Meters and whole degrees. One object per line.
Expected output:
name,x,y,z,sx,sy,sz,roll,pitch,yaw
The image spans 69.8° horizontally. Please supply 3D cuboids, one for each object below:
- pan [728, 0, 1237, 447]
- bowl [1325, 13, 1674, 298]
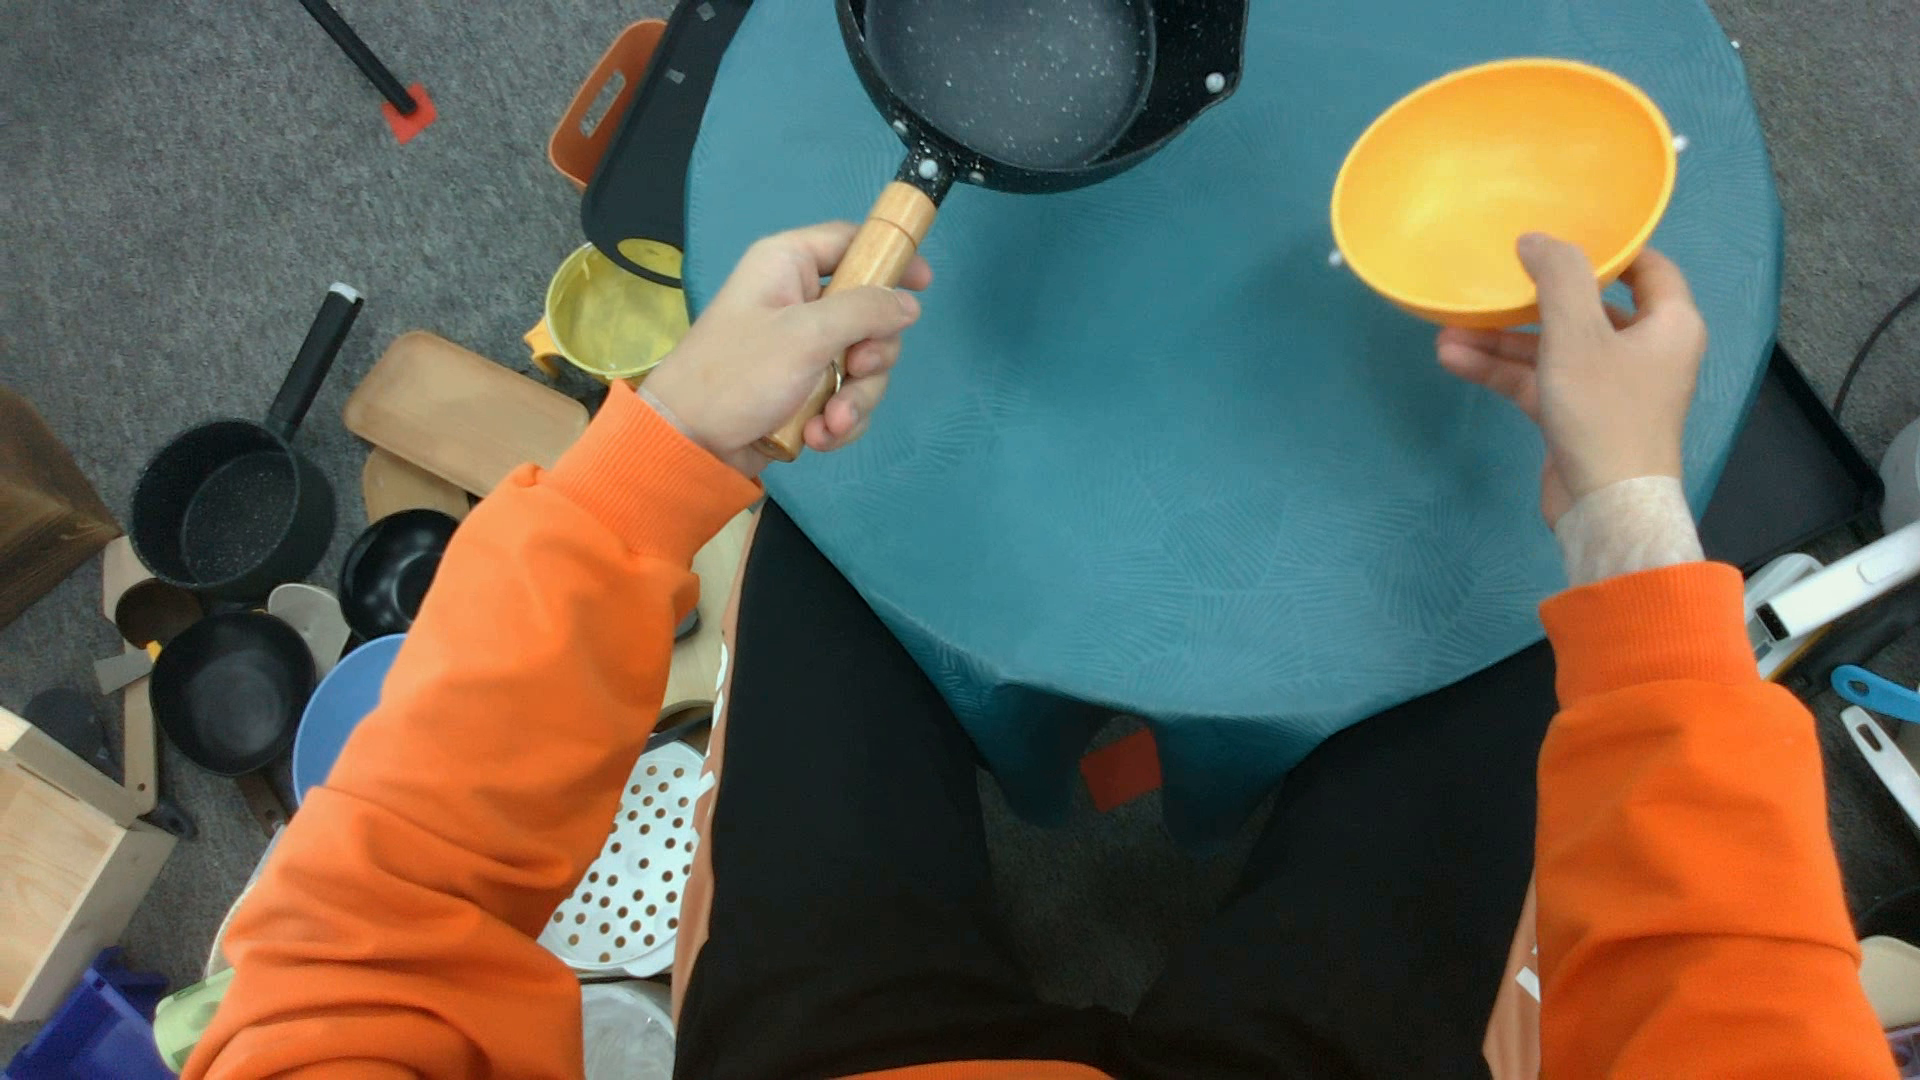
pan,-0.008,-0.184,0.622,0.207,0.108,0.343,29,81,-7
bowl,0.246,-0.164,0.631,0.145,0.060,0.146,-11,63,22
